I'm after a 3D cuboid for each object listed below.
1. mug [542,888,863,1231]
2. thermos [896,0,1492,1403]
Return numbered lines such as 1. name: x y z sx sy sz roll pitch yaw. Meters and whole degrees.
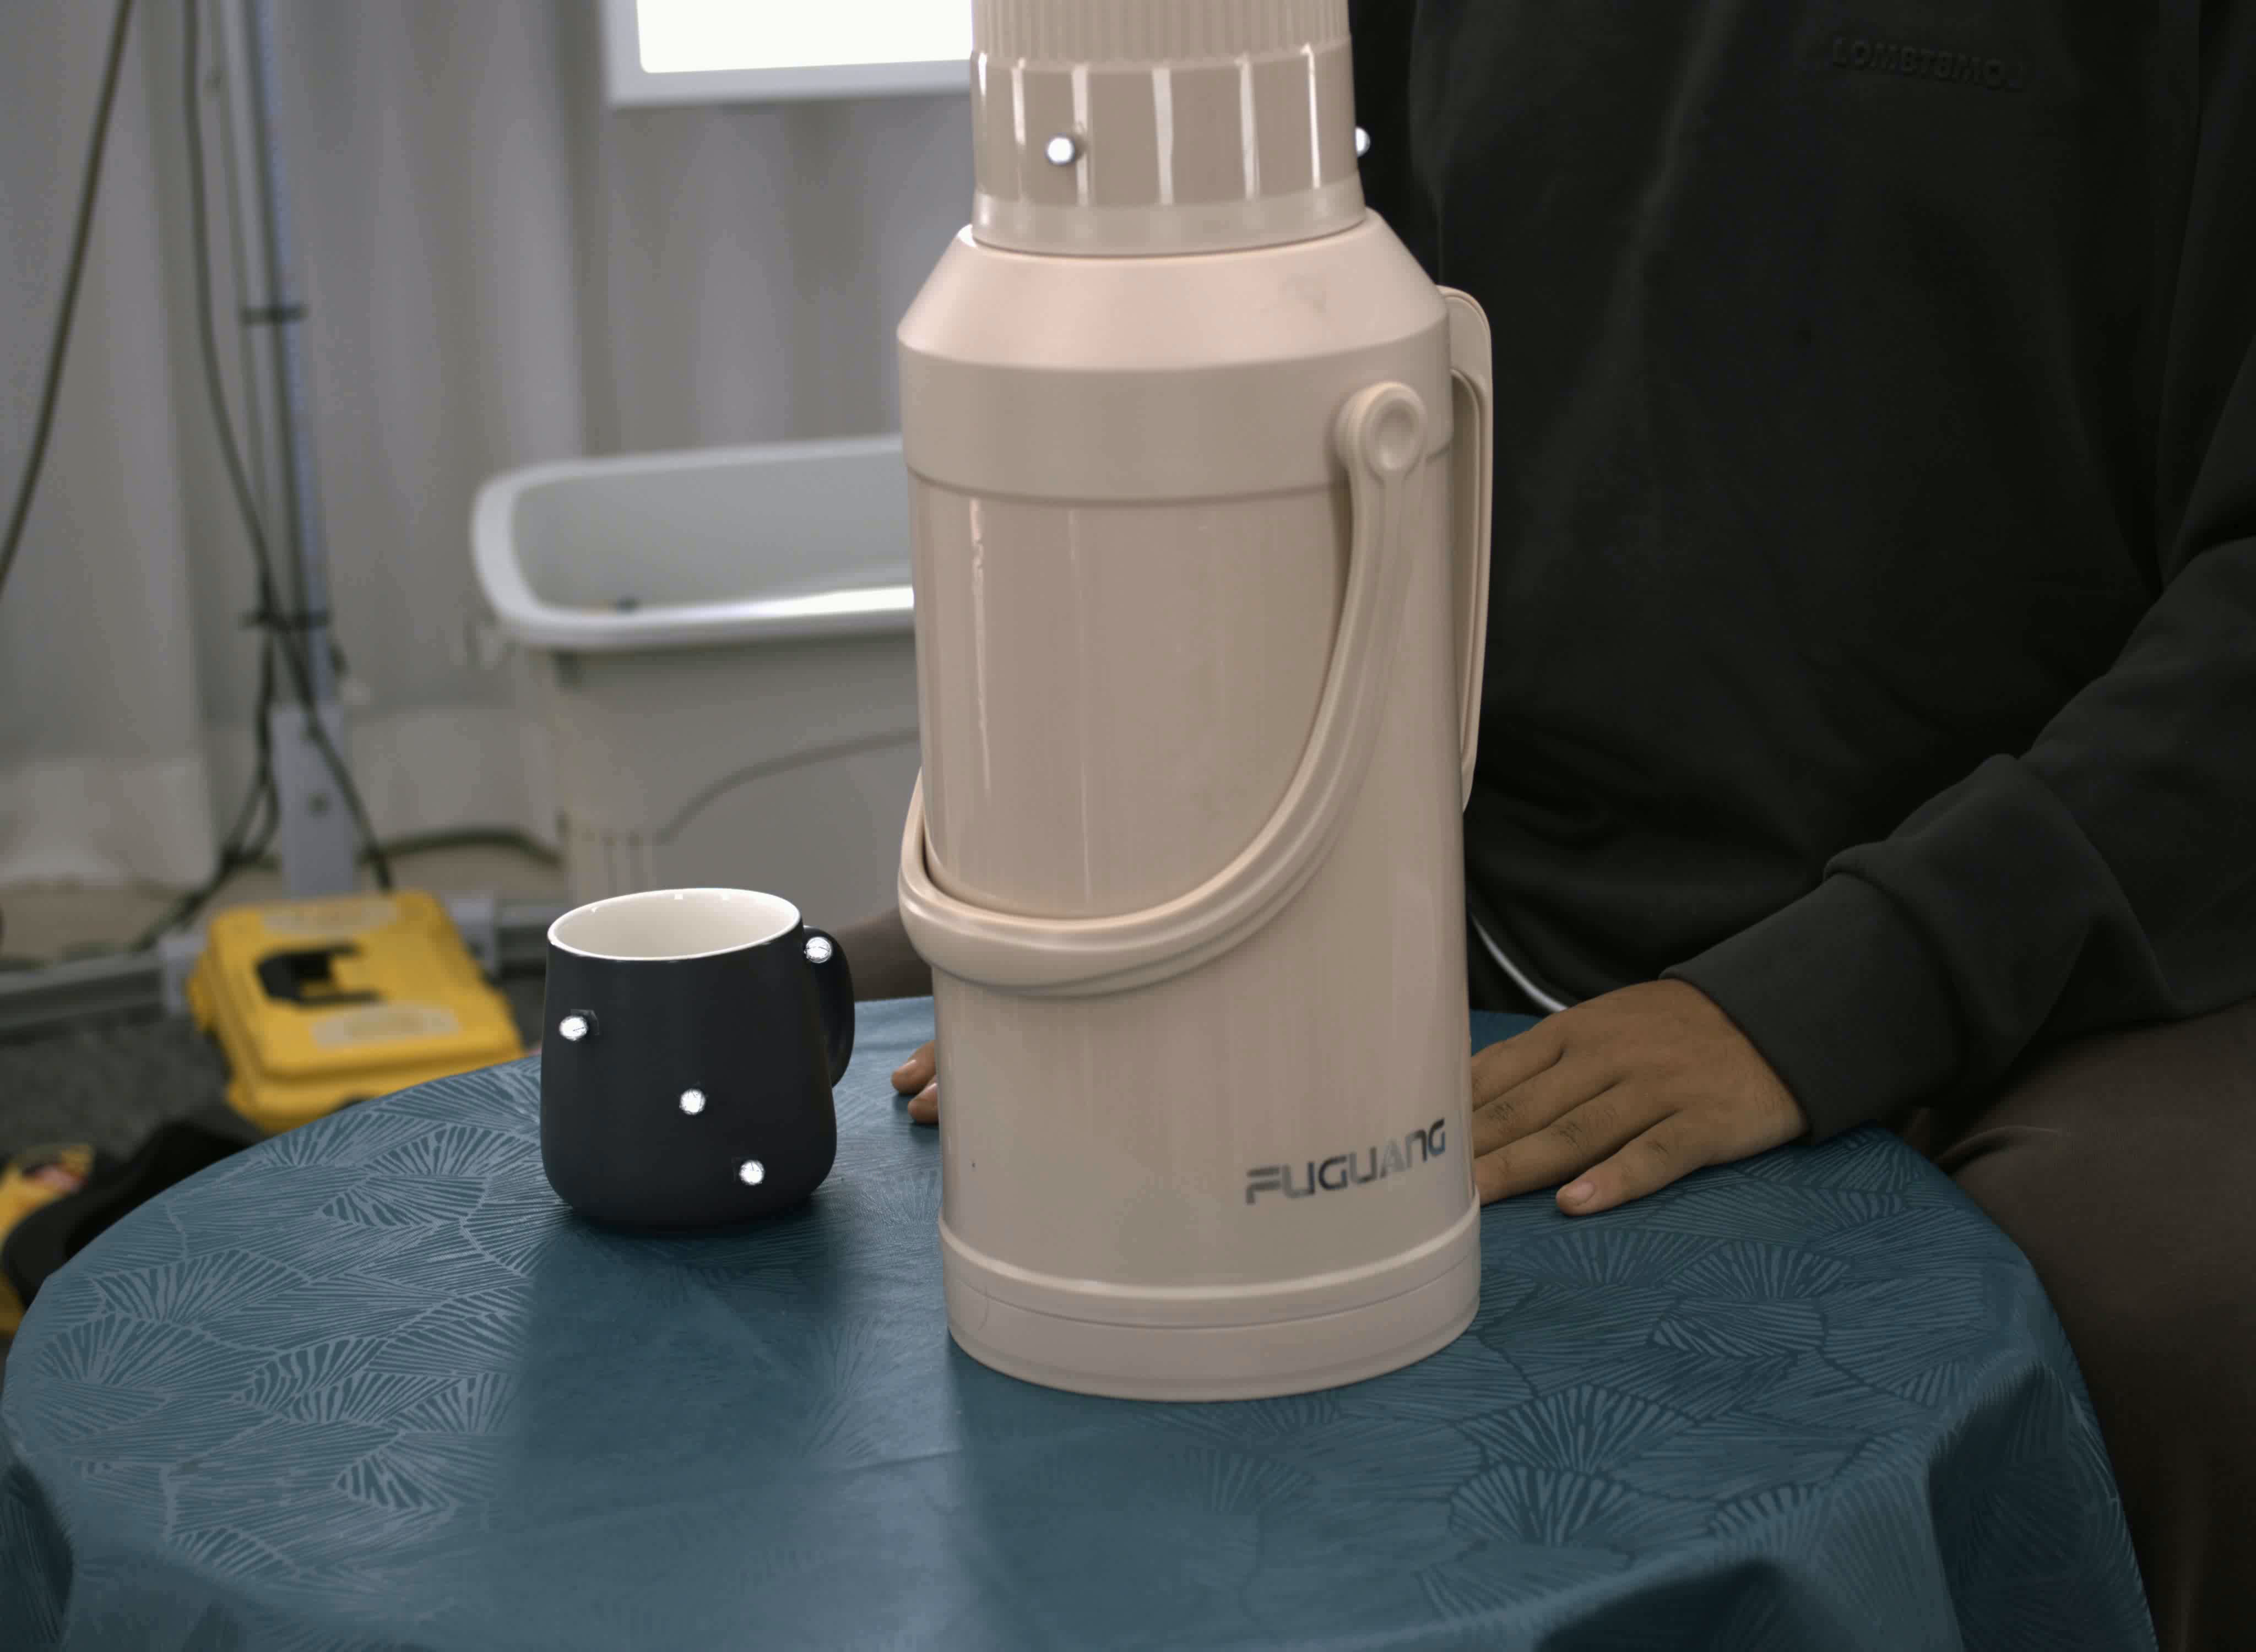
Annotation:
1. mug: -0.129 0.070 1.731 0.094 0.089 0.123 10 19 39
2. thermos: 0.028 -0.053 1.575 0.206 0.405 0.176 -15 18 -41
